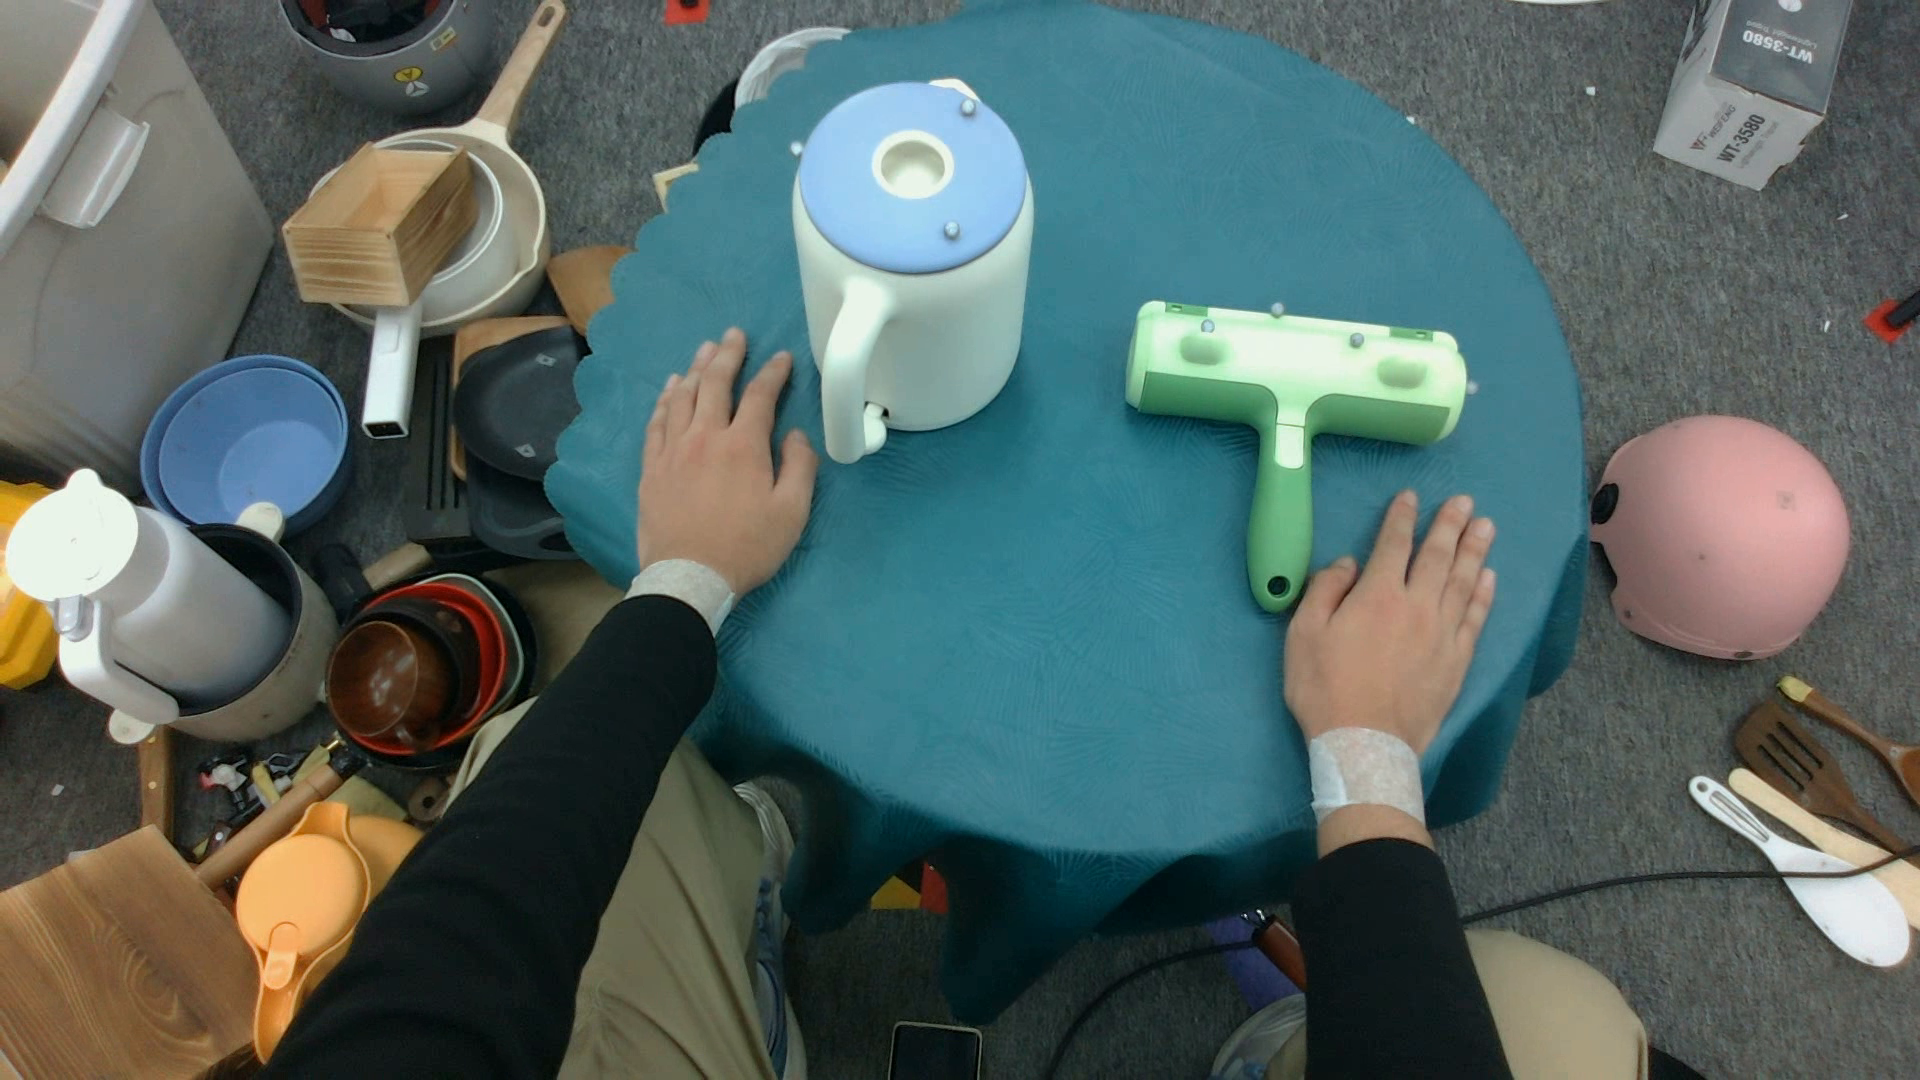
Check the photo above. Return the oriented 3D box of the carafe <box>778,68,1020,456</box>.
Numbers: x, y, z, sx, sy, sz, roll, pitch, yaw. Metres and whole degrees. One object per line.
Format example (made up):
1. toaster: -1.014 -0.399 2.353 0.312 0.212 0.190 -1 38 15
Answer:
1. carafe: -0.042 -0.142 0.781 0.132 0.182 0.192 17 69 6

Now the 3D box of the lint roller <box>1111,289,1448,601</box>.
1. lint roller: 0.185 -0.061 0.807 0.198 0.082 0.184 7 64 2
